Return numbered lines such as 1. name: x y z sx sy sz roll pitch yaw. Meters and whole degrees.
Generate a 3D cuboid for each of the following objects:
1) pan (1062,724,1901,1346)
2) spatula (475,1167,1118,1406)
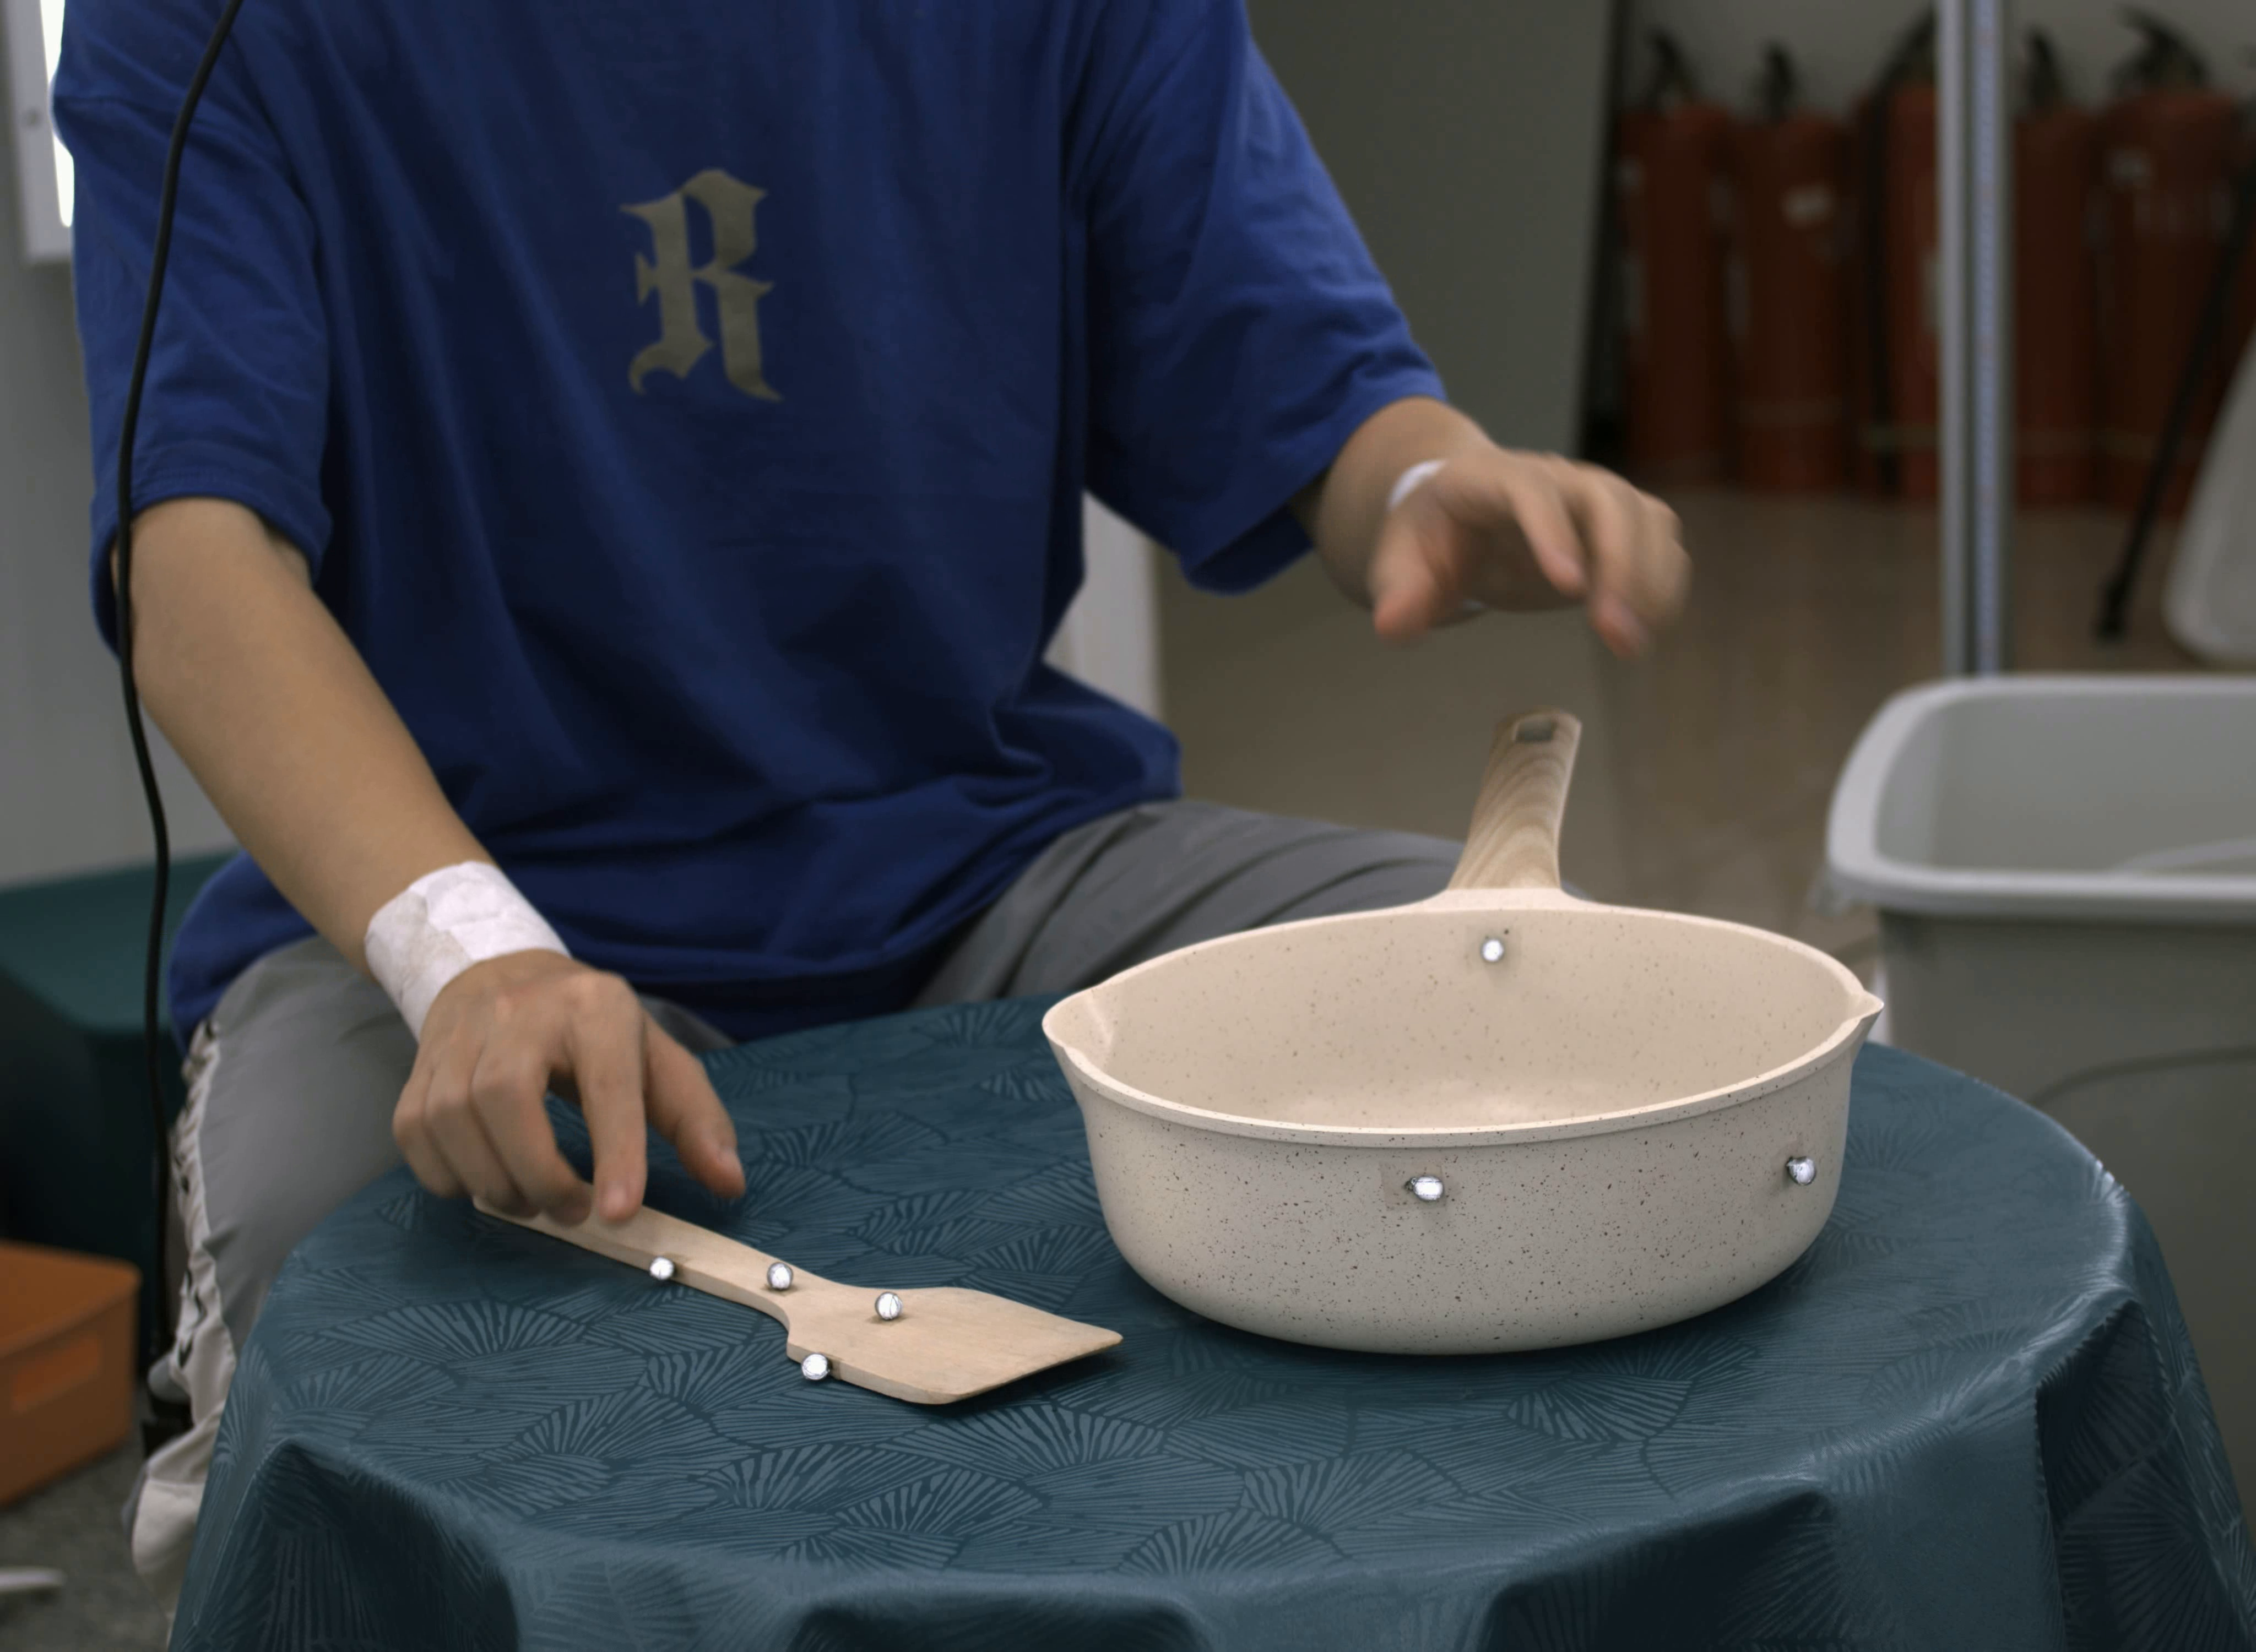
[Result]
1. pan: 0.123 0.064 1.759 0.261 0.103 0.433 -4 13 9
2. spatula: -0.119 0.142 1.701 0.071 0.011 0.296 -16 18 -37
